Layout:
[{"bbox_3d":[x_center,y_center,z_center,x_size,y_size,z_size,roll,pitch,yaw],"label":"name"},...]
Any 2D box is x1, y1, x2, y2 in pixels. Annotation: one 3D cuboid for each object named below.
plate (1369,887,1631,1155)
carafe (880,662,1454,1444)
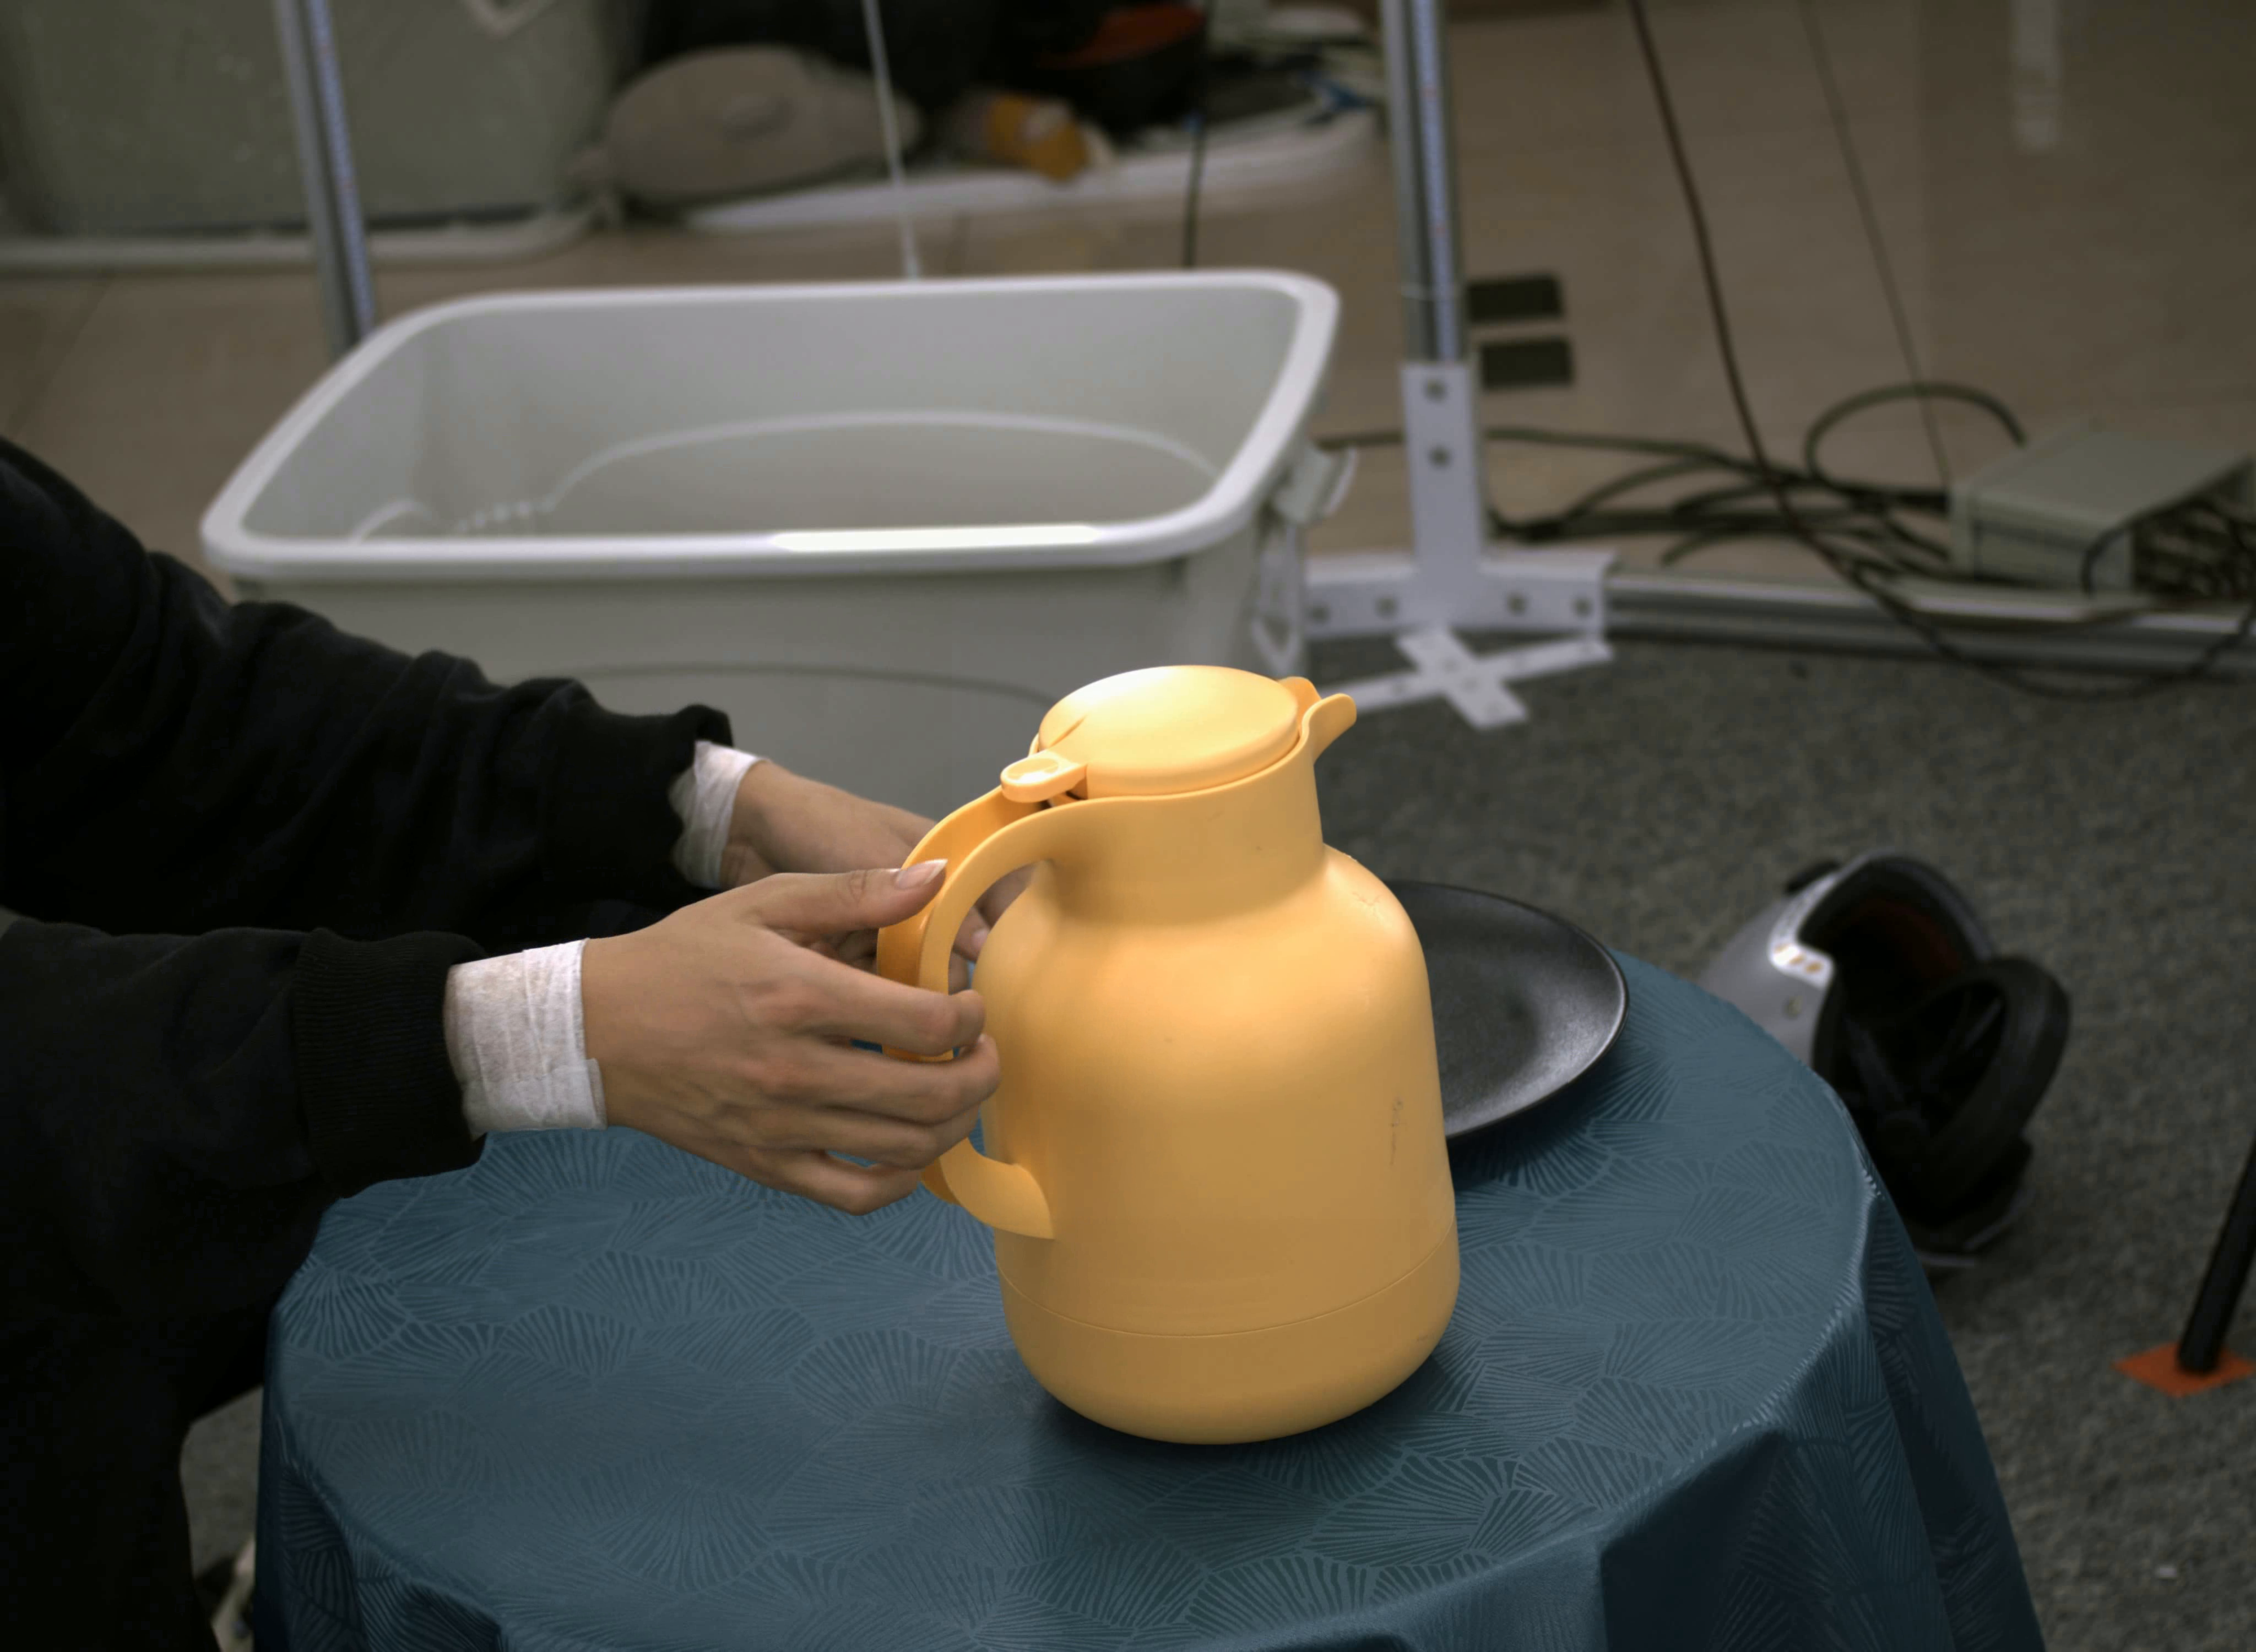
[{"bbox_3d":[0.076,0.084,2.221,0.244,0.024,0.241,-5,25,2],"label":"plate"},{"bbox_3d":[0.009,0.080,1.961,0.201,0.264,0.162,-19,26,-28],"label":"carafe"}]
